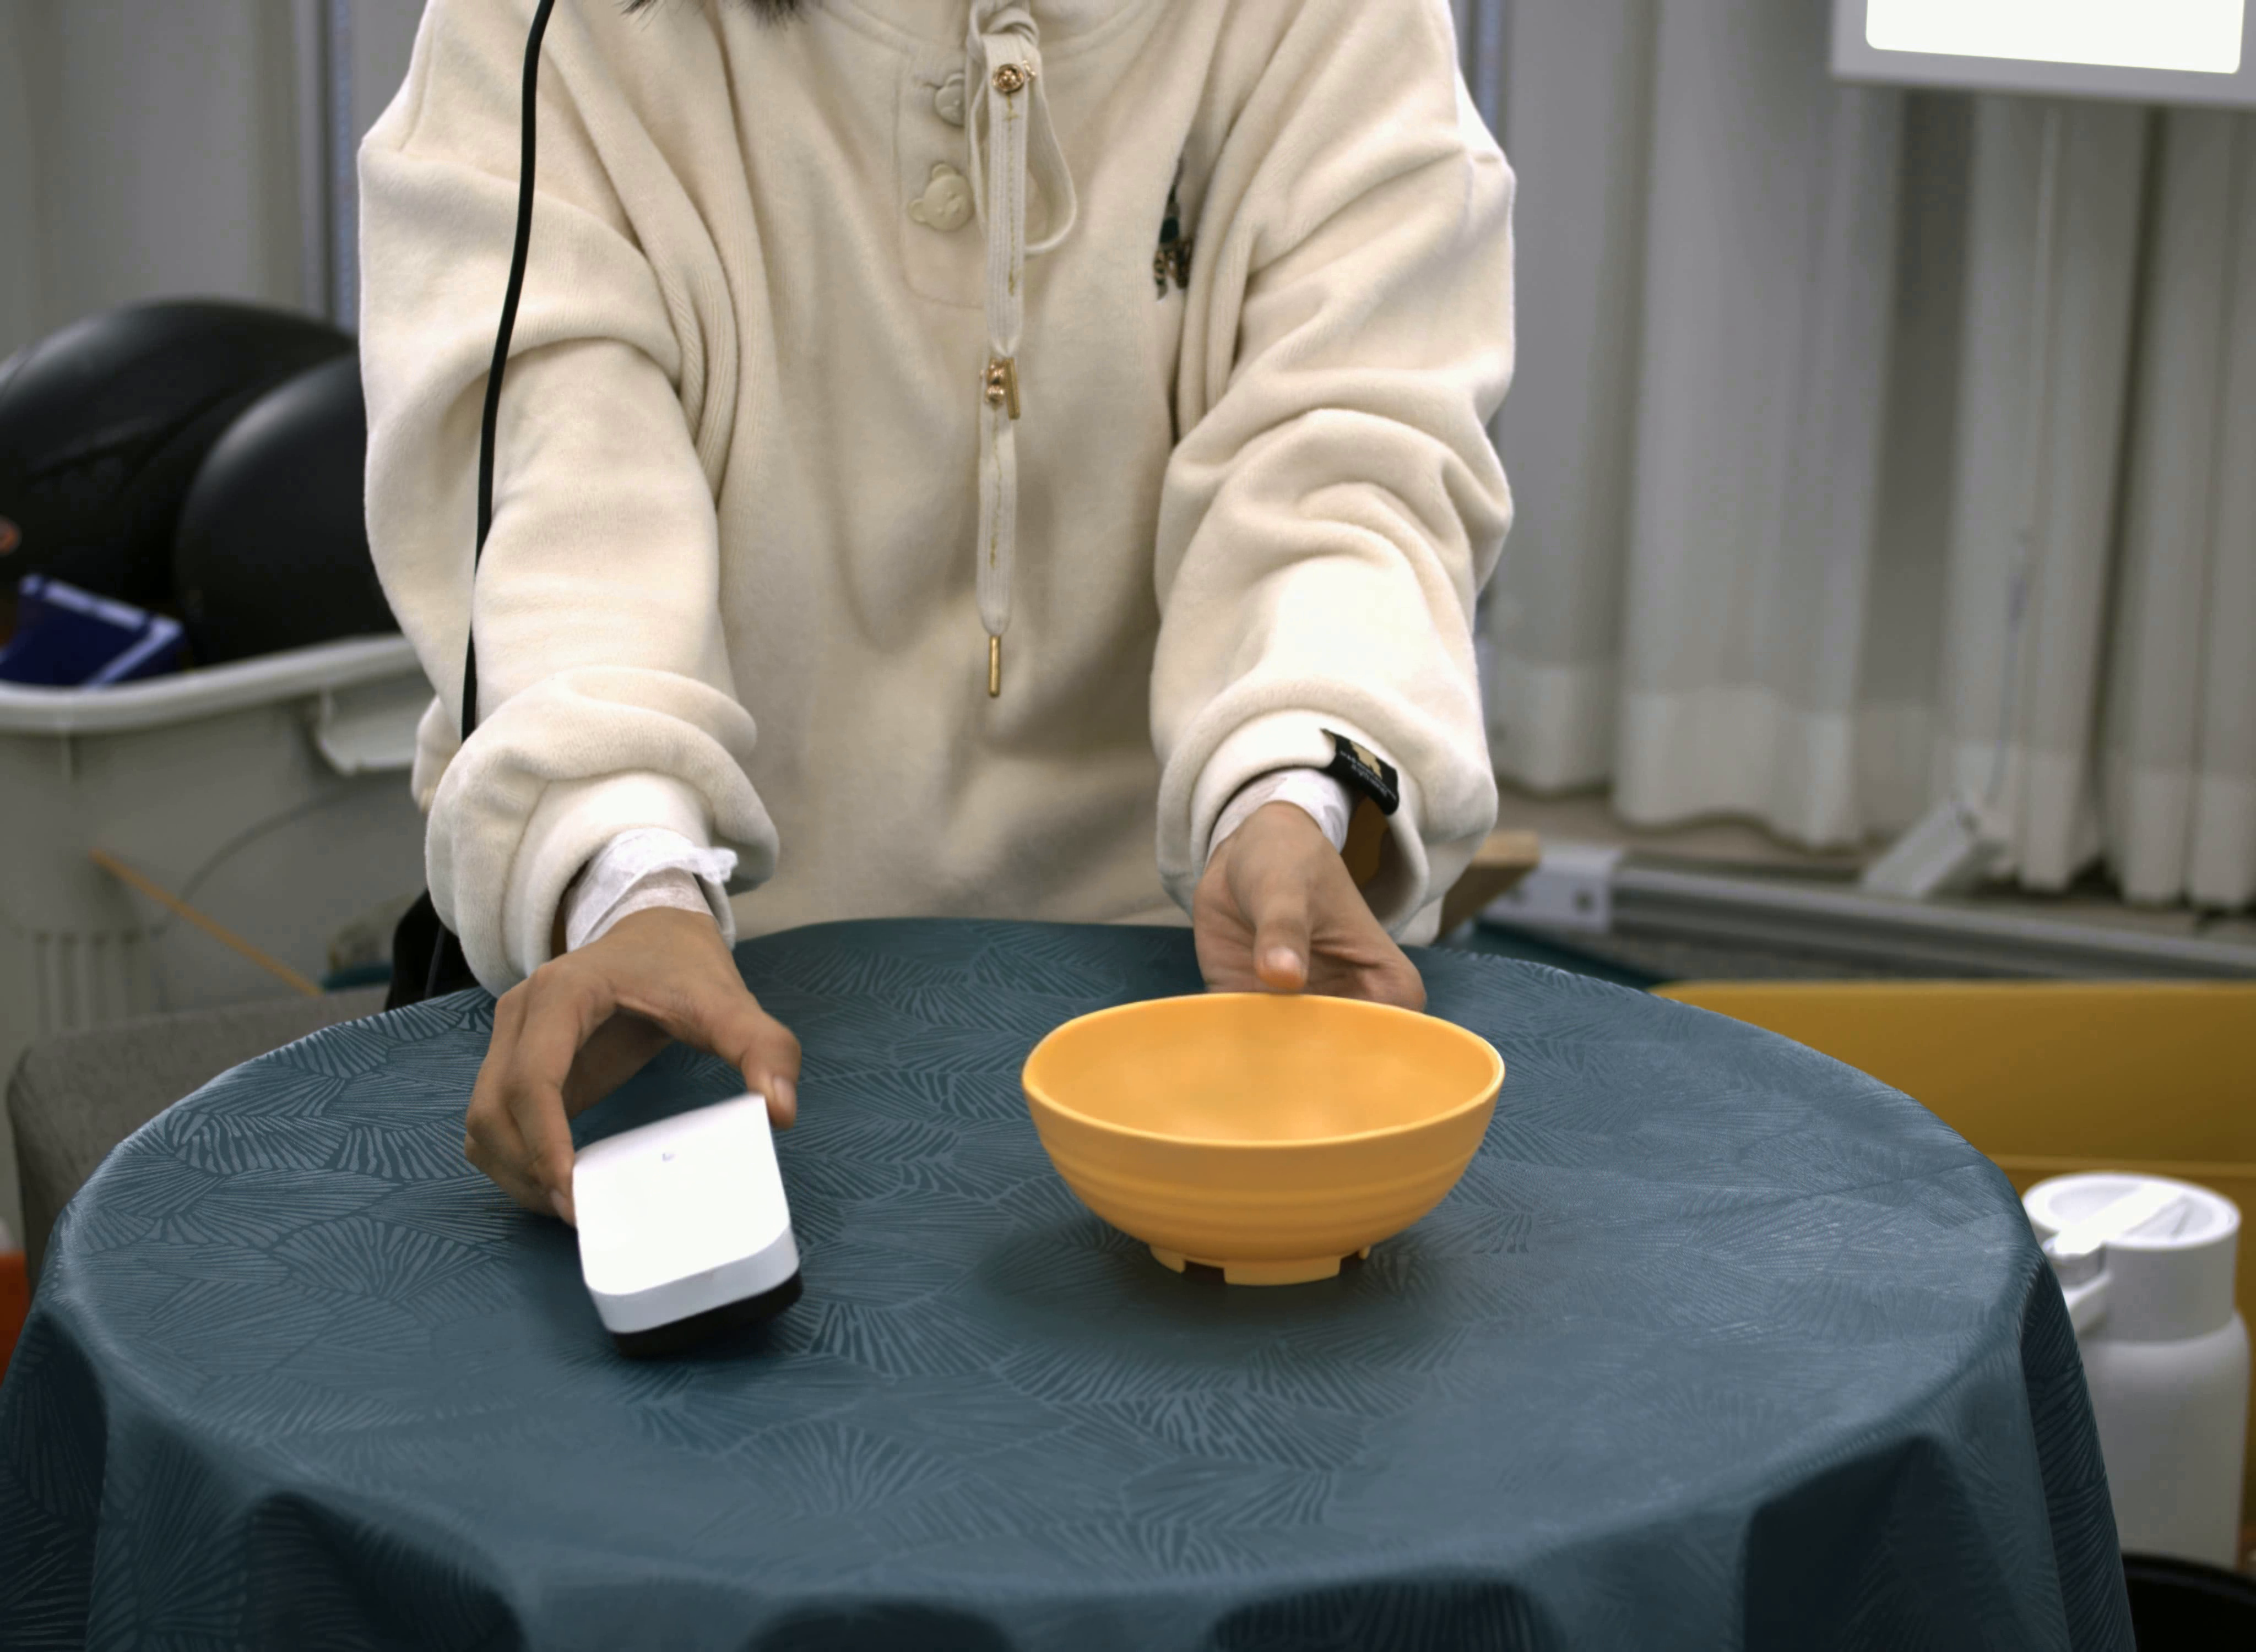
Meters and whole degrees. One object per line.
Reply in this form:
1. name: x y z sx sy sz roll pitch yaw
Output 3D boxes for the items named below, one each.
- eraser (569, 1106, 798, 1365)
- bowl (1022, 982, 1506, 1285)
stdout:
1. eraser: -0.128 0.114 1.528 0.063 0.035 0.130 -14 18 -3
2. bowl: 0.041 0.097 1.567 0.145 0.060 0.144 0 18 1
